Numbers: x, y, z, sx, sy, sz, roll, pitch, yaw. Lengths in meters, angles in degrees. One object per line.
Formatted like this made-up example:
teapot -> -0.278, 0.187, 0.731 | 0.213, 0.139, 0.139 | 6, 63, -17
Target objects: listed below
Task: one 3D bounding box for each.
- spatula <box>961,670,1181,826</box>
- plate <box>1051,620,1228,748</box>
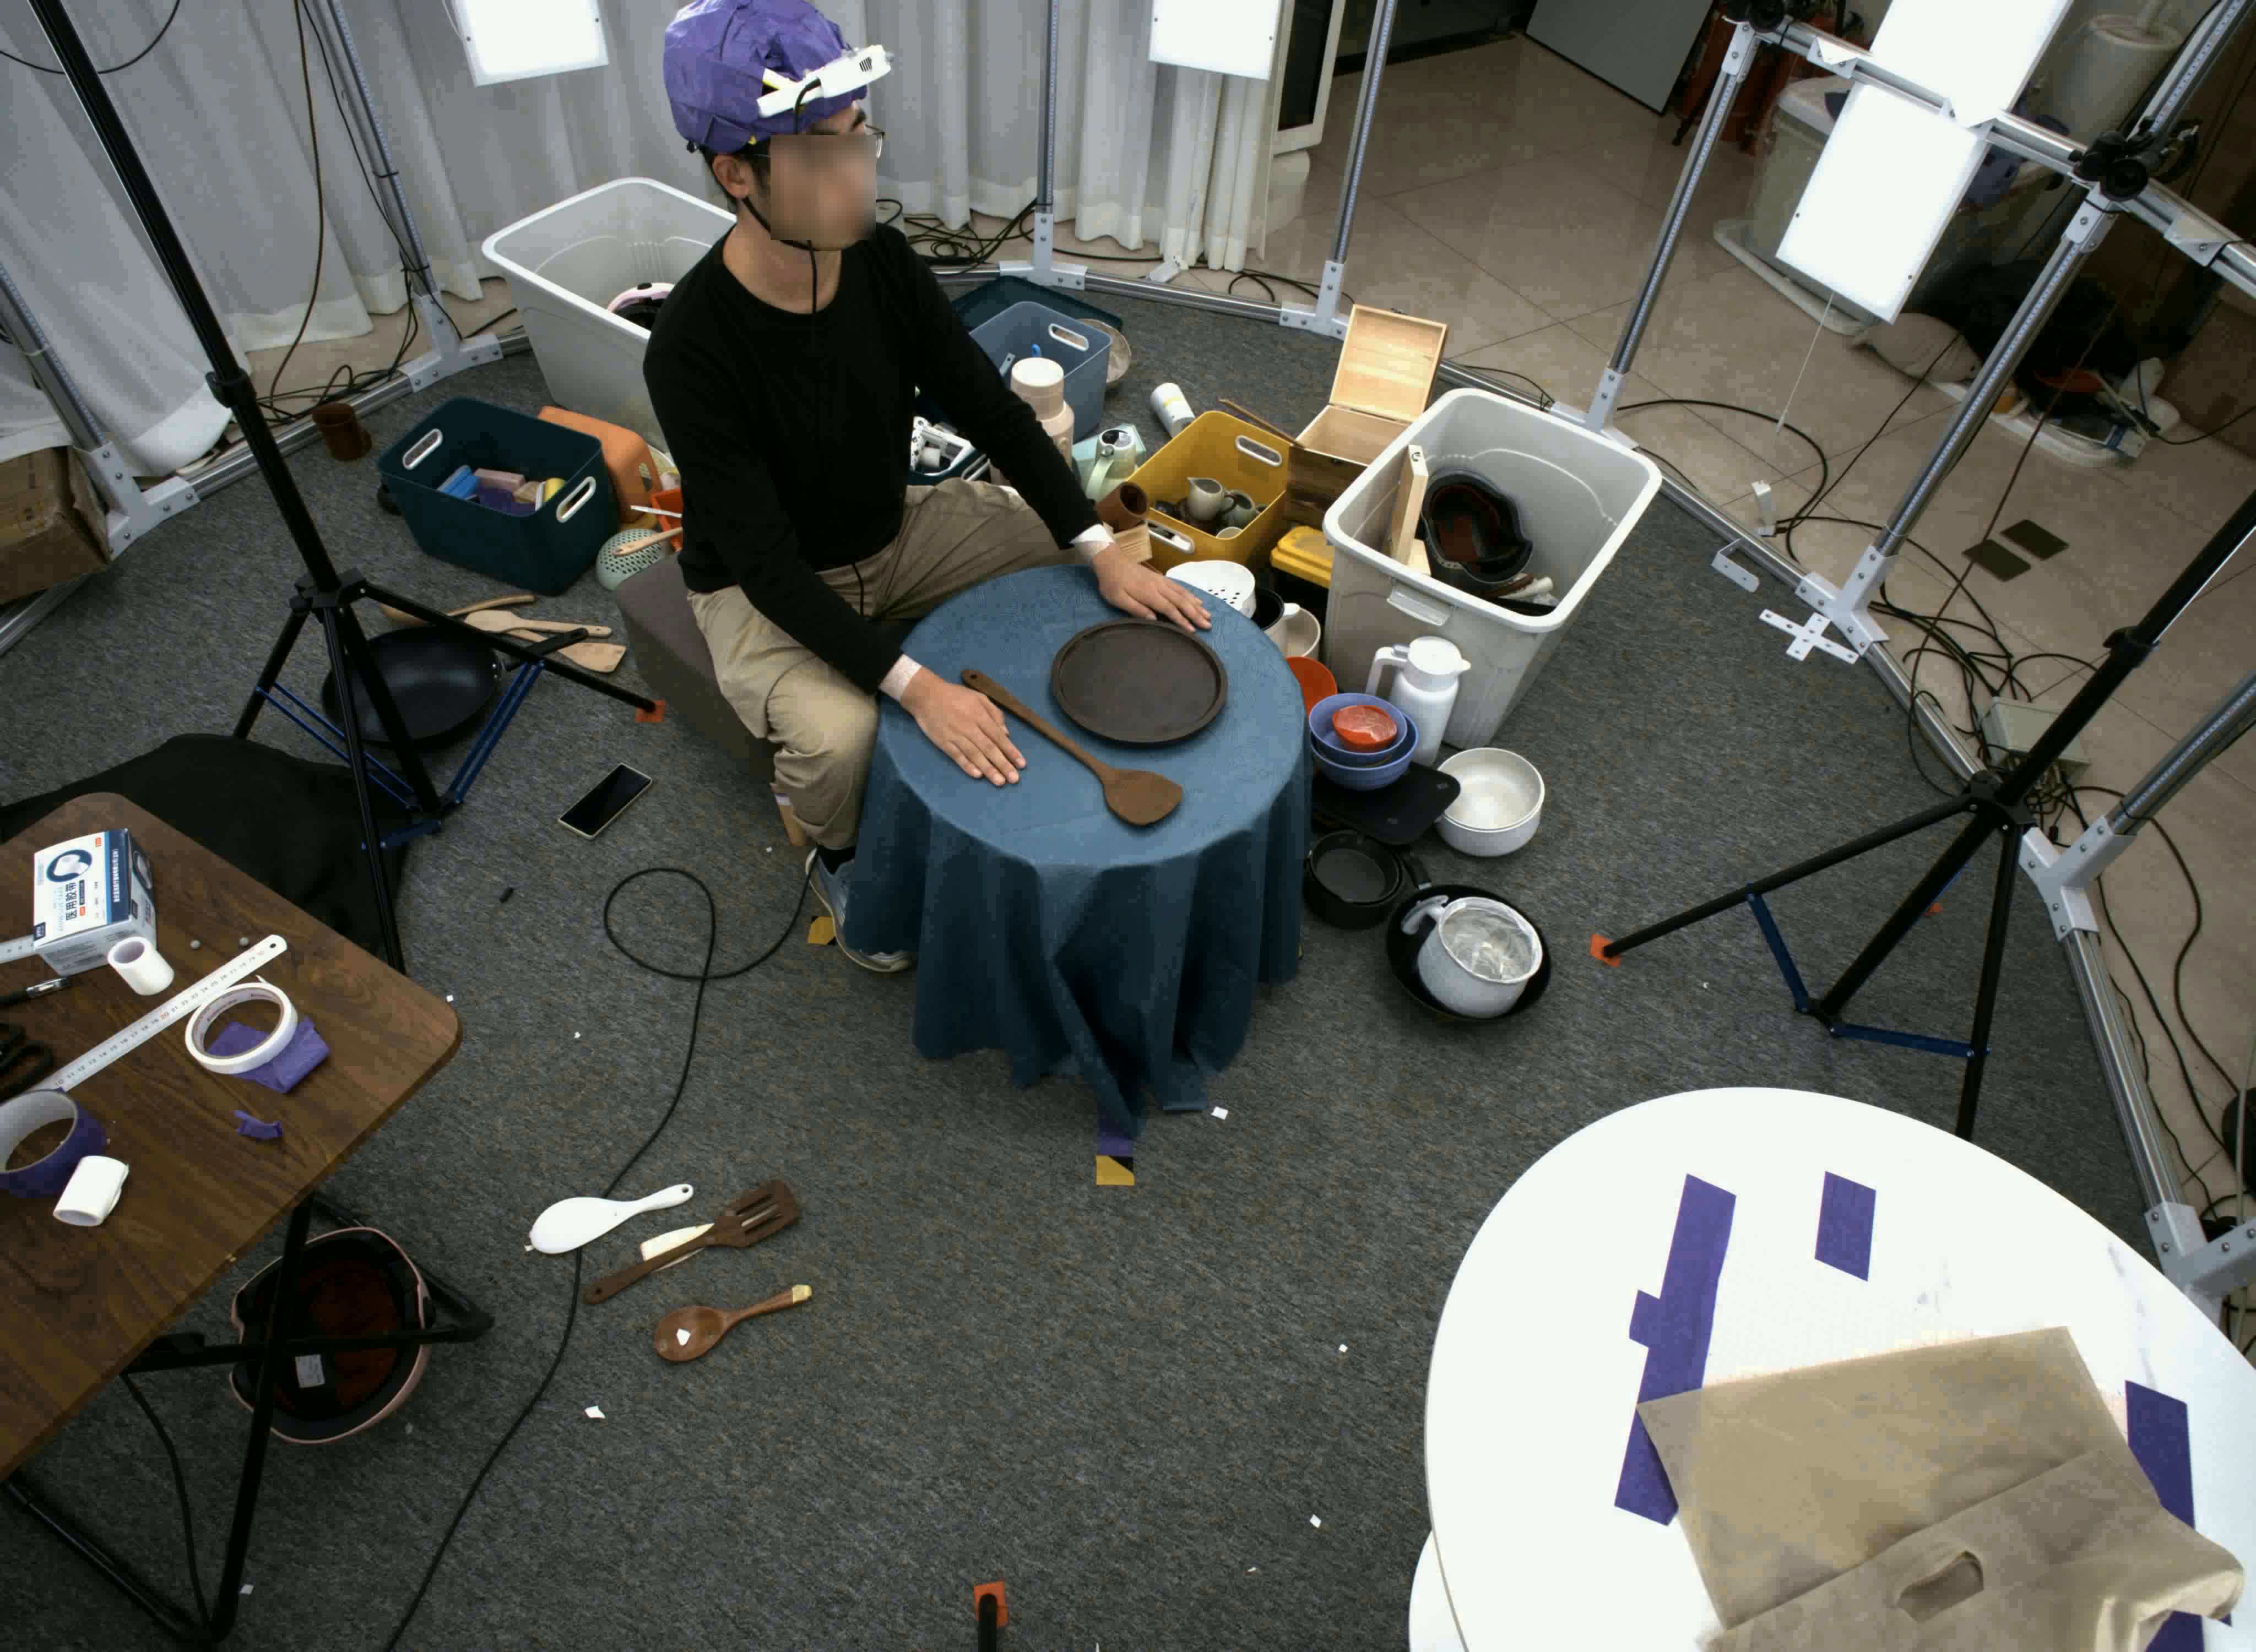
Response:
spatula -> -0.092, -0.118, 1.757 | 0.391, 0.015, 0.097 | 36, 55, 25
plate -> 0.016, -0.205, 1.833 | 0.254, 0.028, 0.261 | 2, 50, -2
